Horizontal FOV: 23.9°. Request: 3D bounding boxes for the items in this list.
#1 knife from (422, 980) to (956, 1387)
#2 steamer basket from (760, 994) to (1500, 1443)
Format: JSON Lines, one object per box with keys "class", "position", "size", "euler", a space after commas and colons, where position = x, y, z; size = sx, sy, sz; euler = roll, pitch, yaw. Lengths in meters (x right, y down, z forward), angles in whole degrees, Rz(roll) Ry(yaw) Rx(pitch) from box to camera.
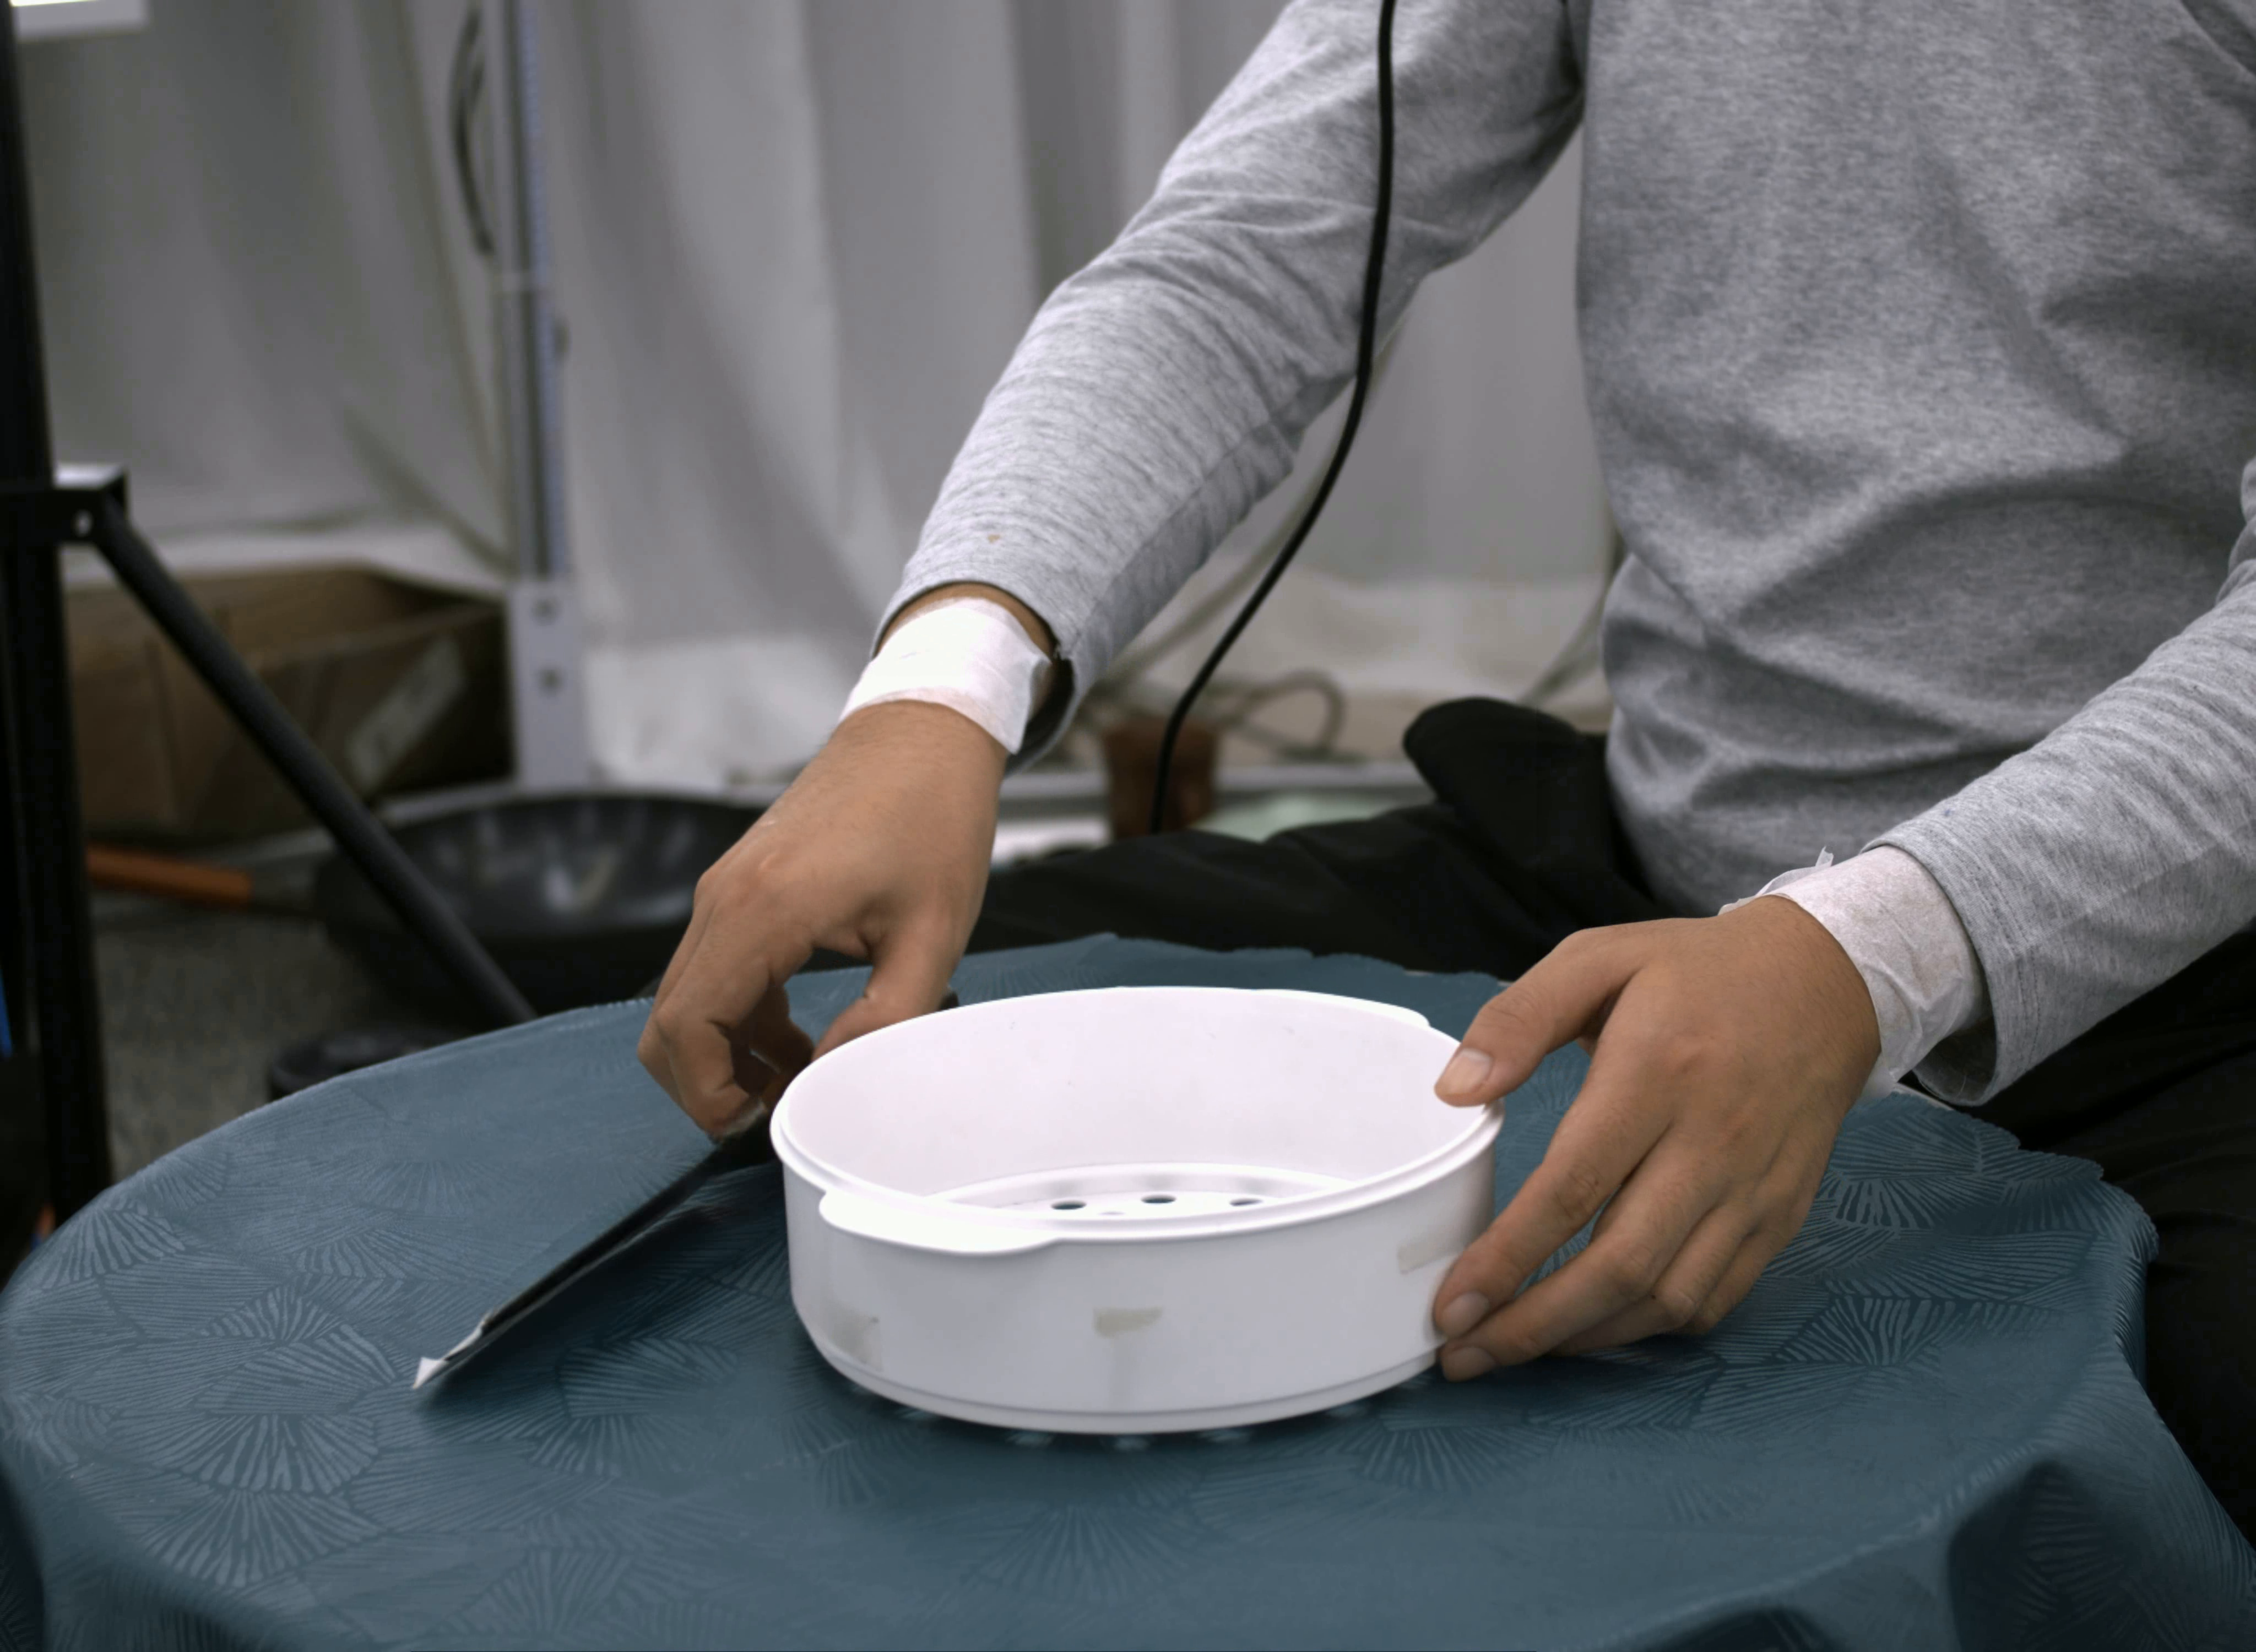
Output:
{"class": "knife", "position": [-0.123, 0.102, 1.537], "size": [0.051, 0.020, 0.285], "euler": [-45, -5, 33]}
{"class": "steamer basket", "position": [0.001, 0.106, 1.446], "size": [0.206, 0.069, 0.226], "euler": [9, 18, 33]}
